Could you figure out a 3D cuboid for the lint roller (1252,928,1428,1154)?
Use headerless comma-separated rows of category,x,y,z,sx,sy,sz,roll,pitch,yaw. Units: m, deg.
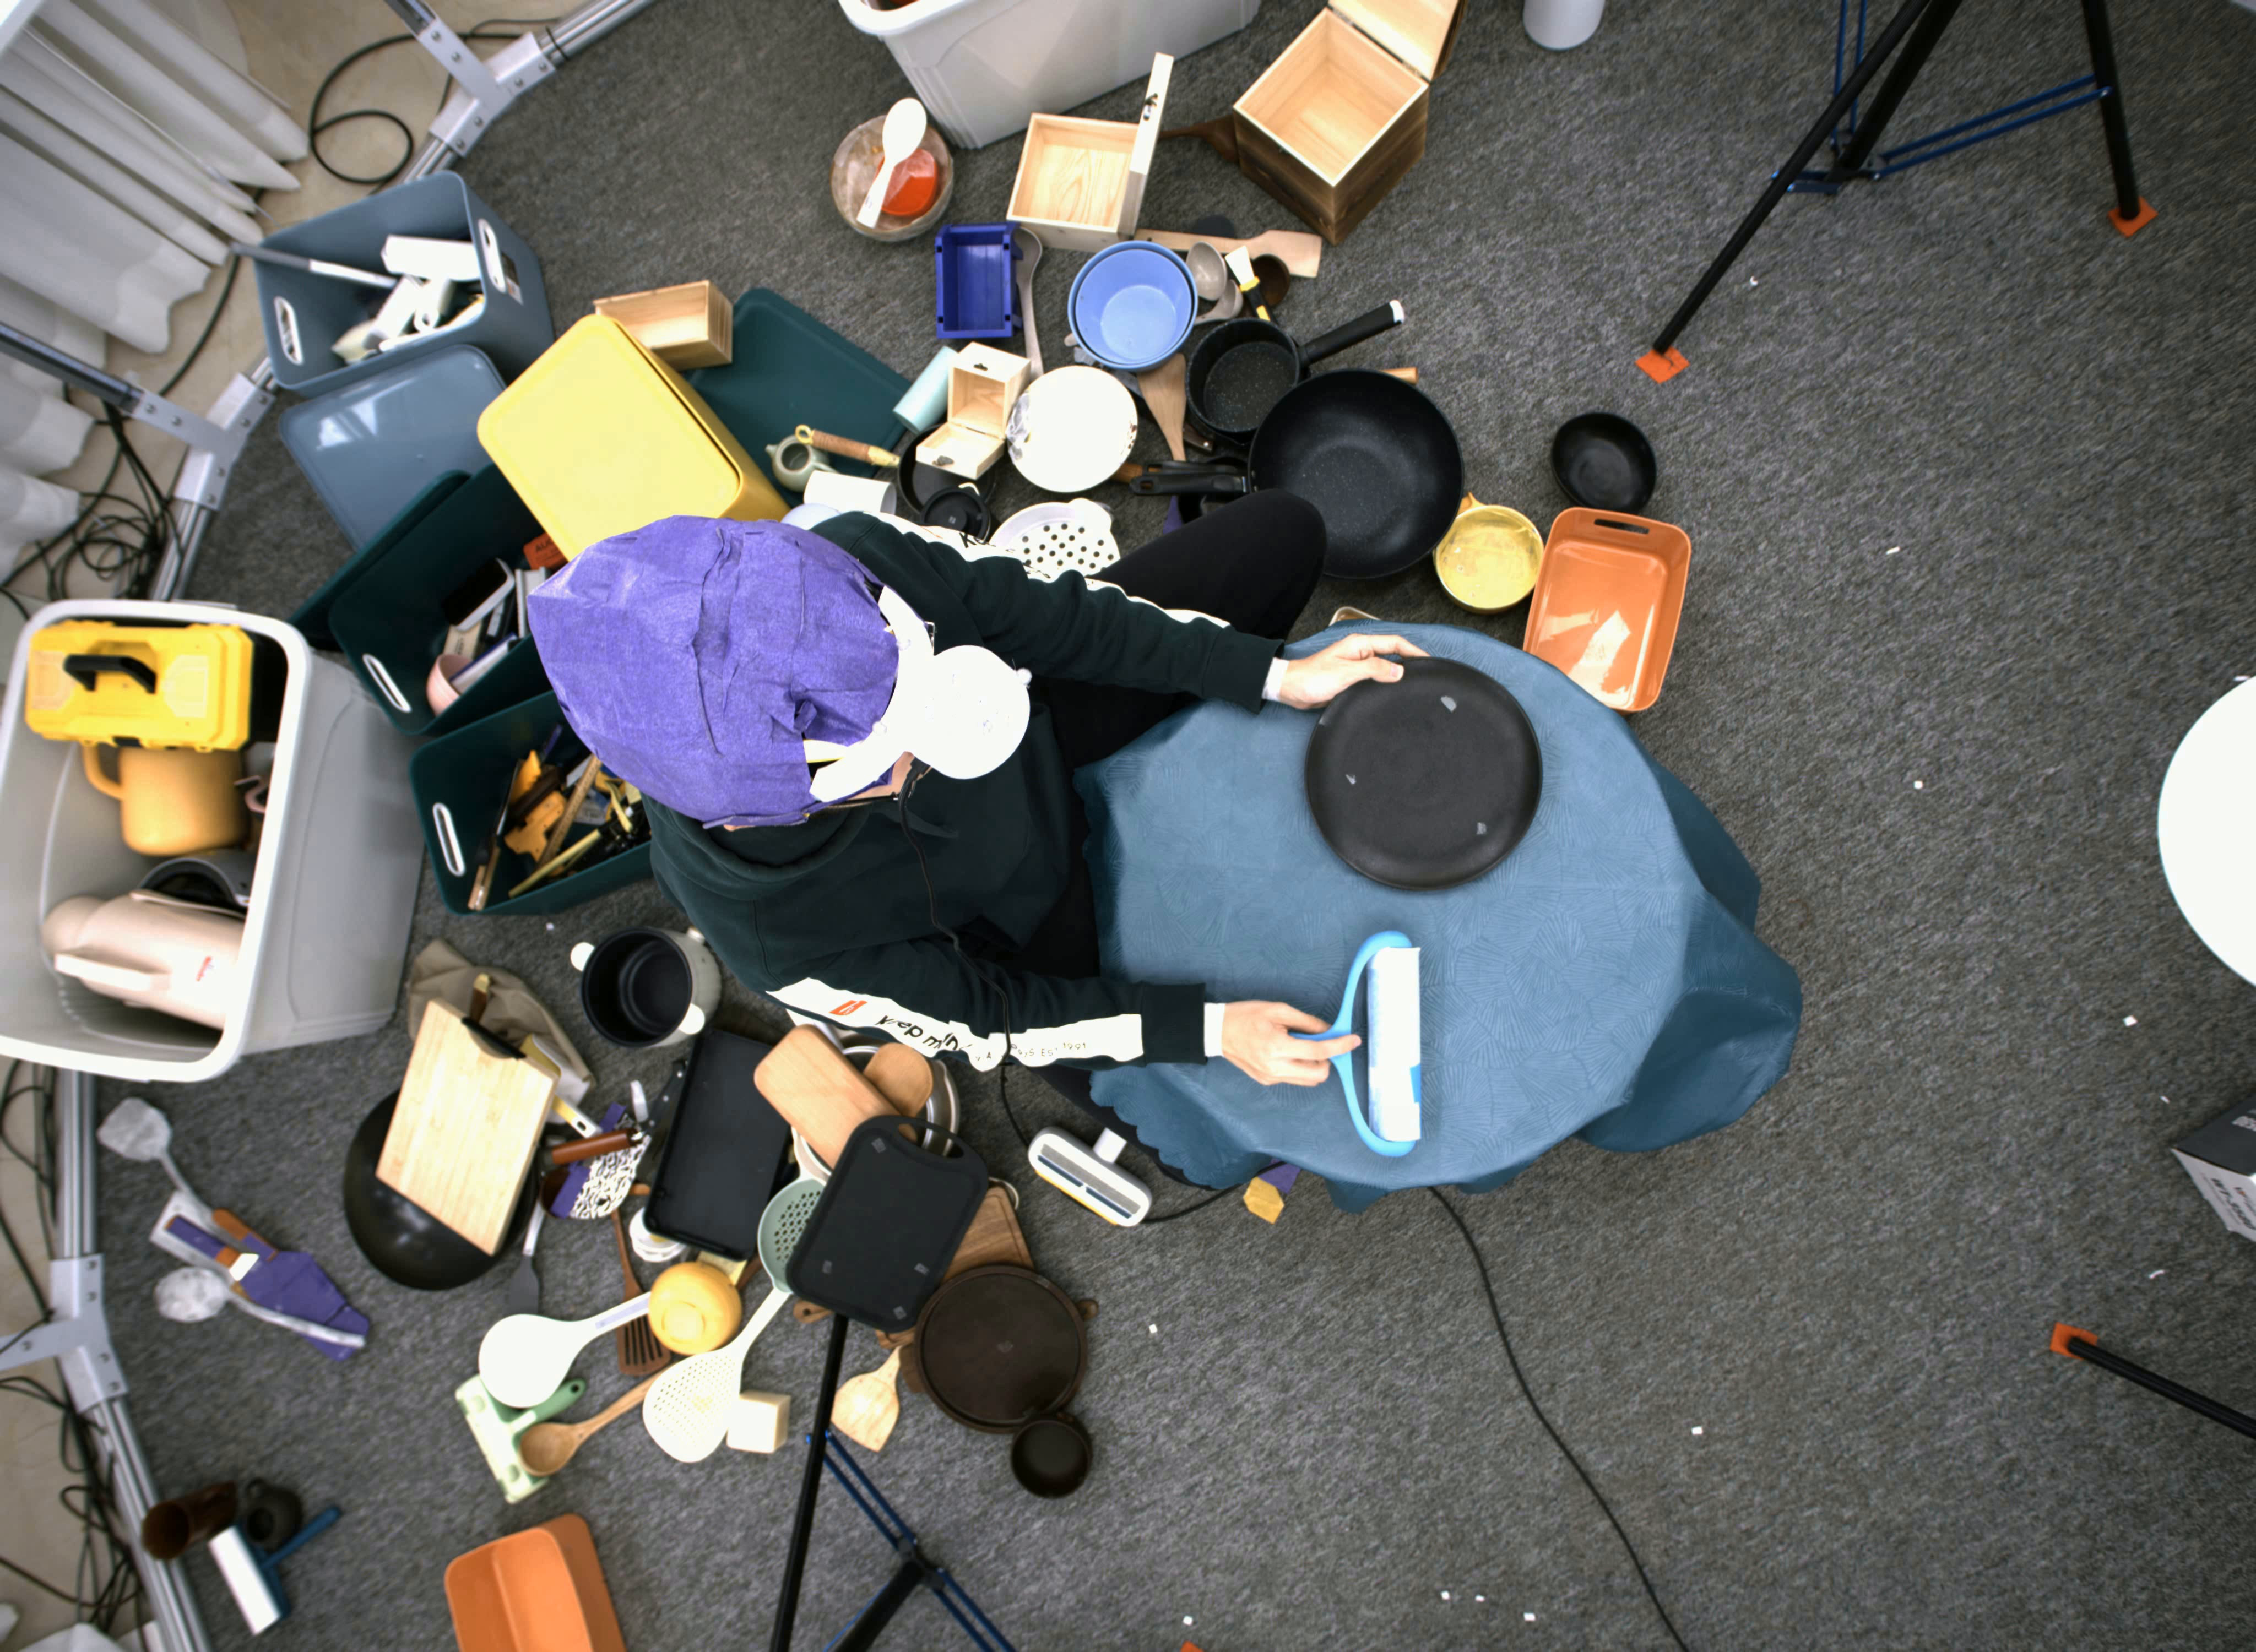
lint roller,0.216,0.222,1.419,0.181,0.068,0.228,-5,88,10

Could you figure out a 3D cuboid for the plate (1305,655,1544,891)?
plate,0.306,-0.056,1.426,0.245,0.023,0.246,2,98,13
